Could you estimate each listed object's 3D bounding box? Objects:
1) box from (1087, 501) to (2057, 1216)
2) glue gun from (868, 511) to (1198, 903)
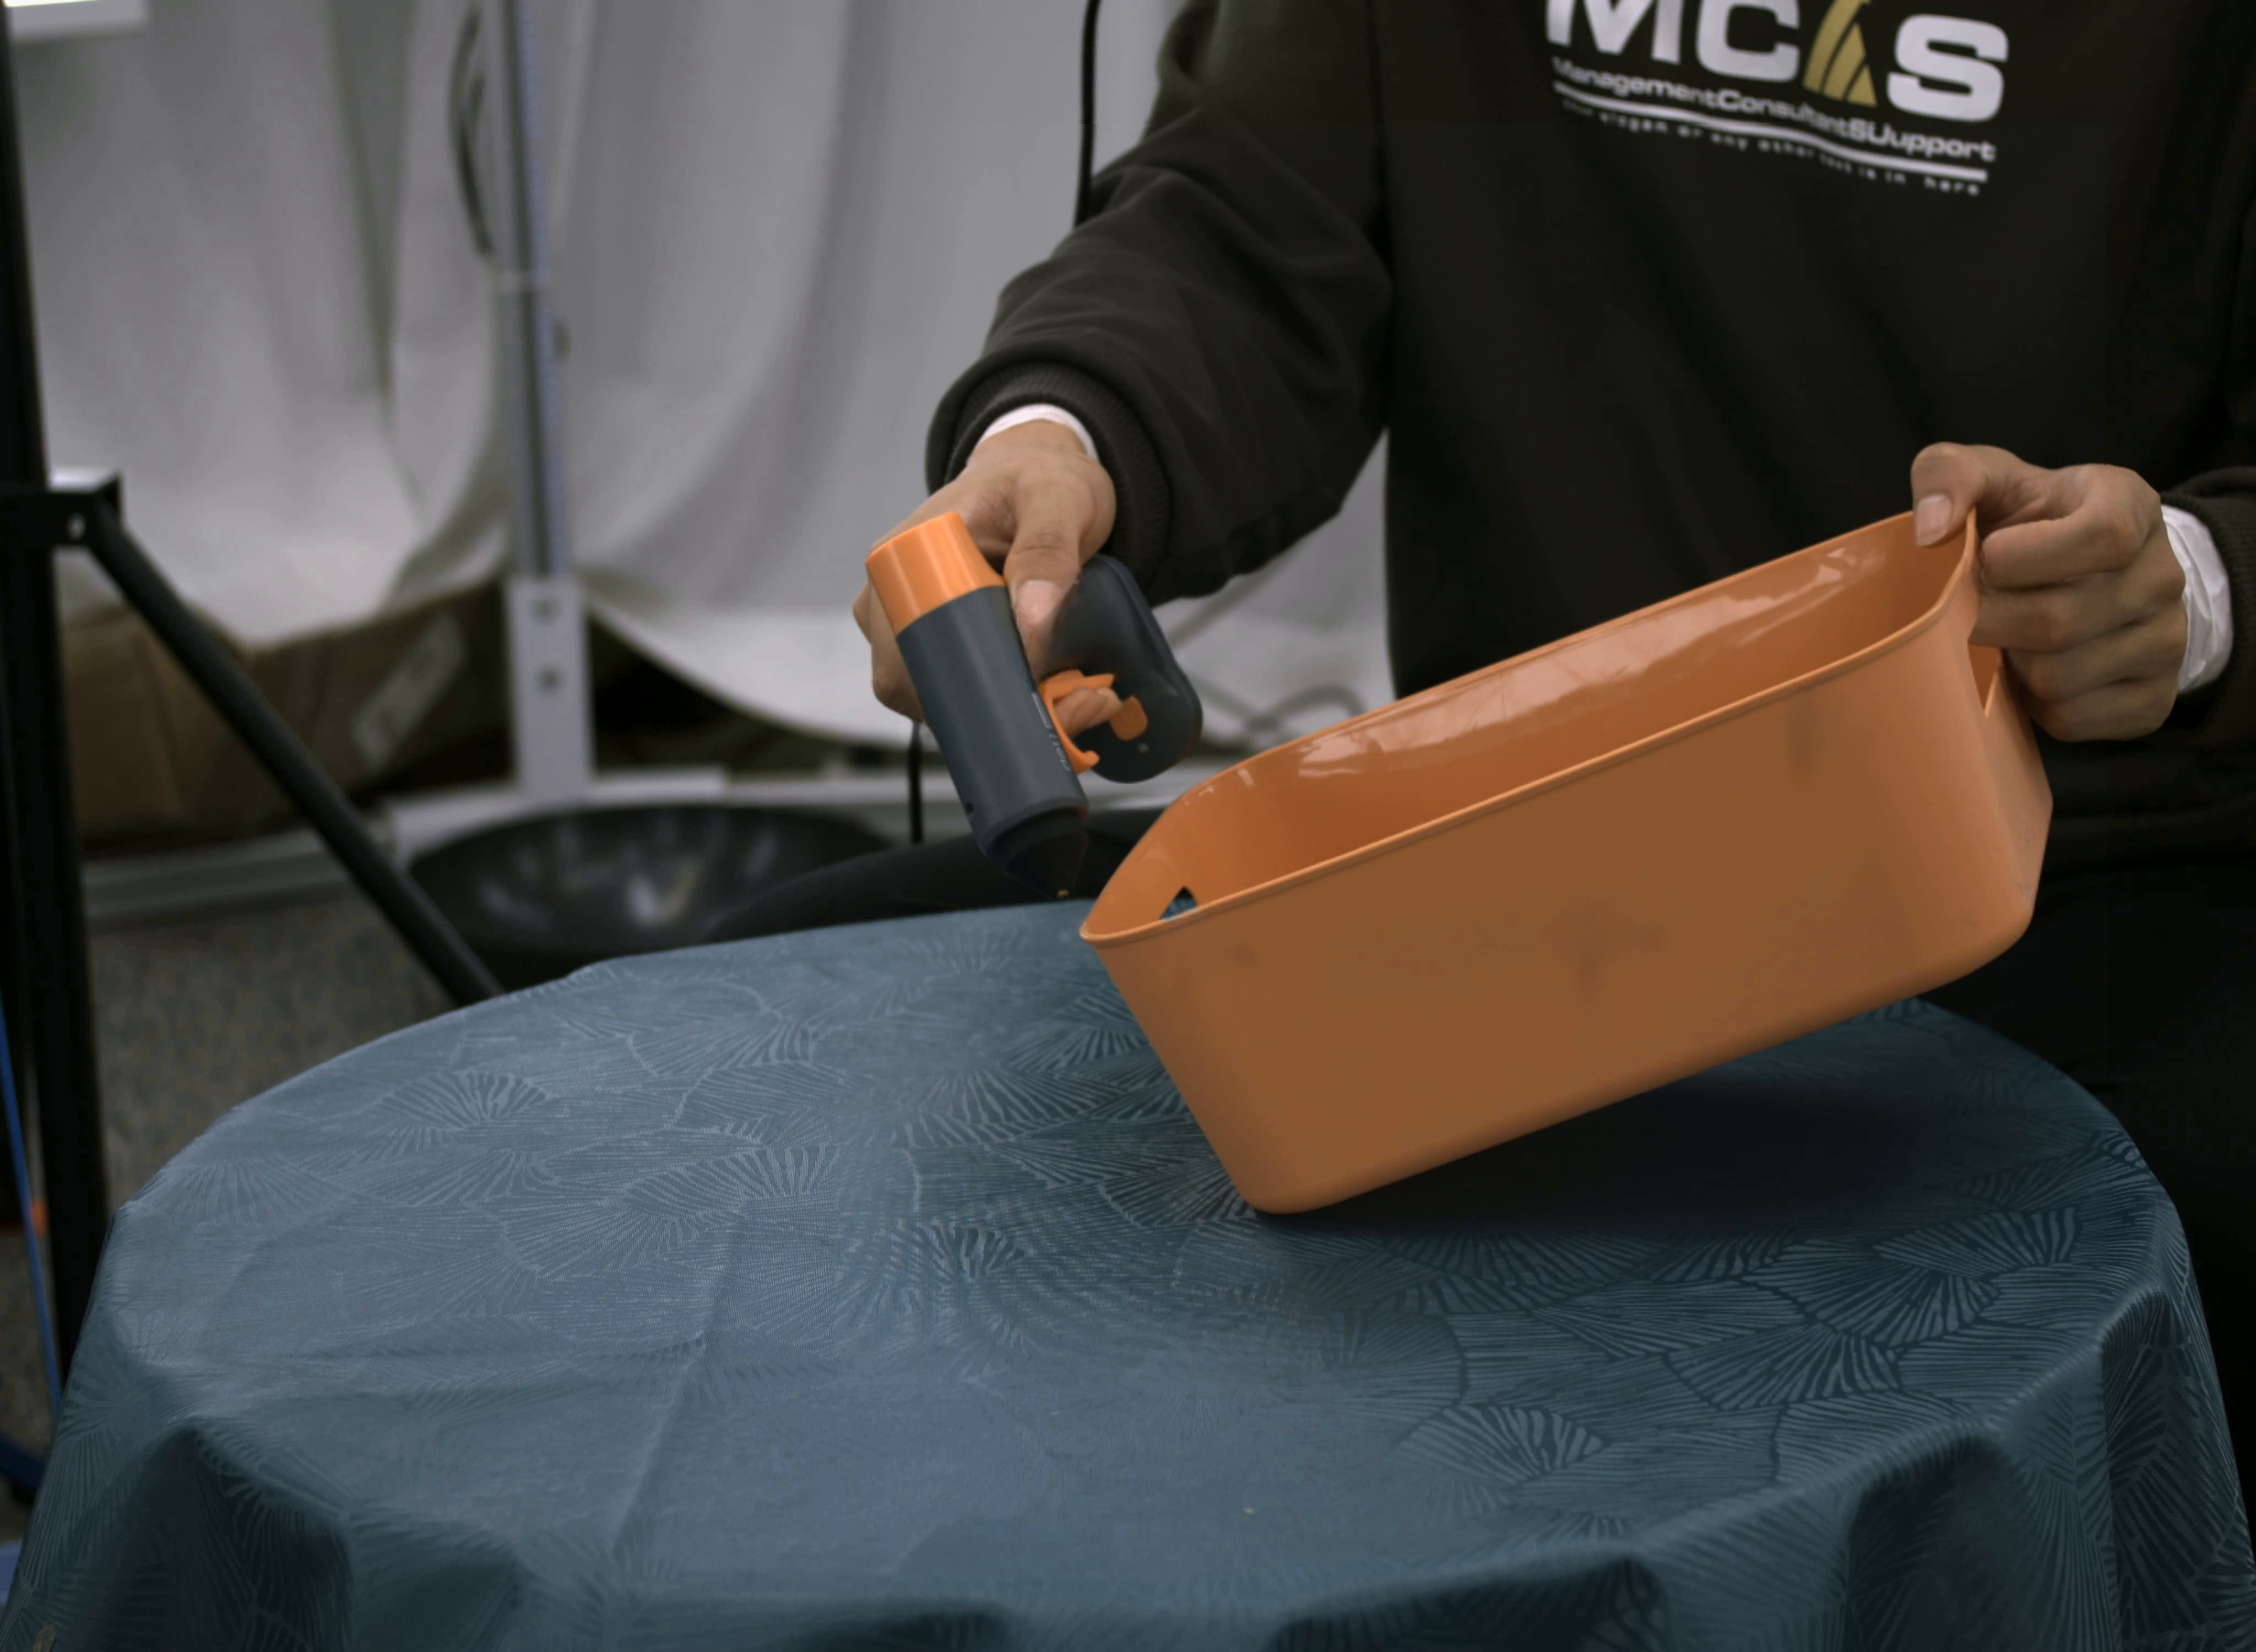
[{"bbox_3d":[0.139,0.012,1.552,0.275,0.102,0.198,-21,9,17],"label":"box"},{"bbox_3d":[-0.026,-0.037,1.594,0.041,0.118,0.137,-29,-5,21],"label":"glue gun"}]
